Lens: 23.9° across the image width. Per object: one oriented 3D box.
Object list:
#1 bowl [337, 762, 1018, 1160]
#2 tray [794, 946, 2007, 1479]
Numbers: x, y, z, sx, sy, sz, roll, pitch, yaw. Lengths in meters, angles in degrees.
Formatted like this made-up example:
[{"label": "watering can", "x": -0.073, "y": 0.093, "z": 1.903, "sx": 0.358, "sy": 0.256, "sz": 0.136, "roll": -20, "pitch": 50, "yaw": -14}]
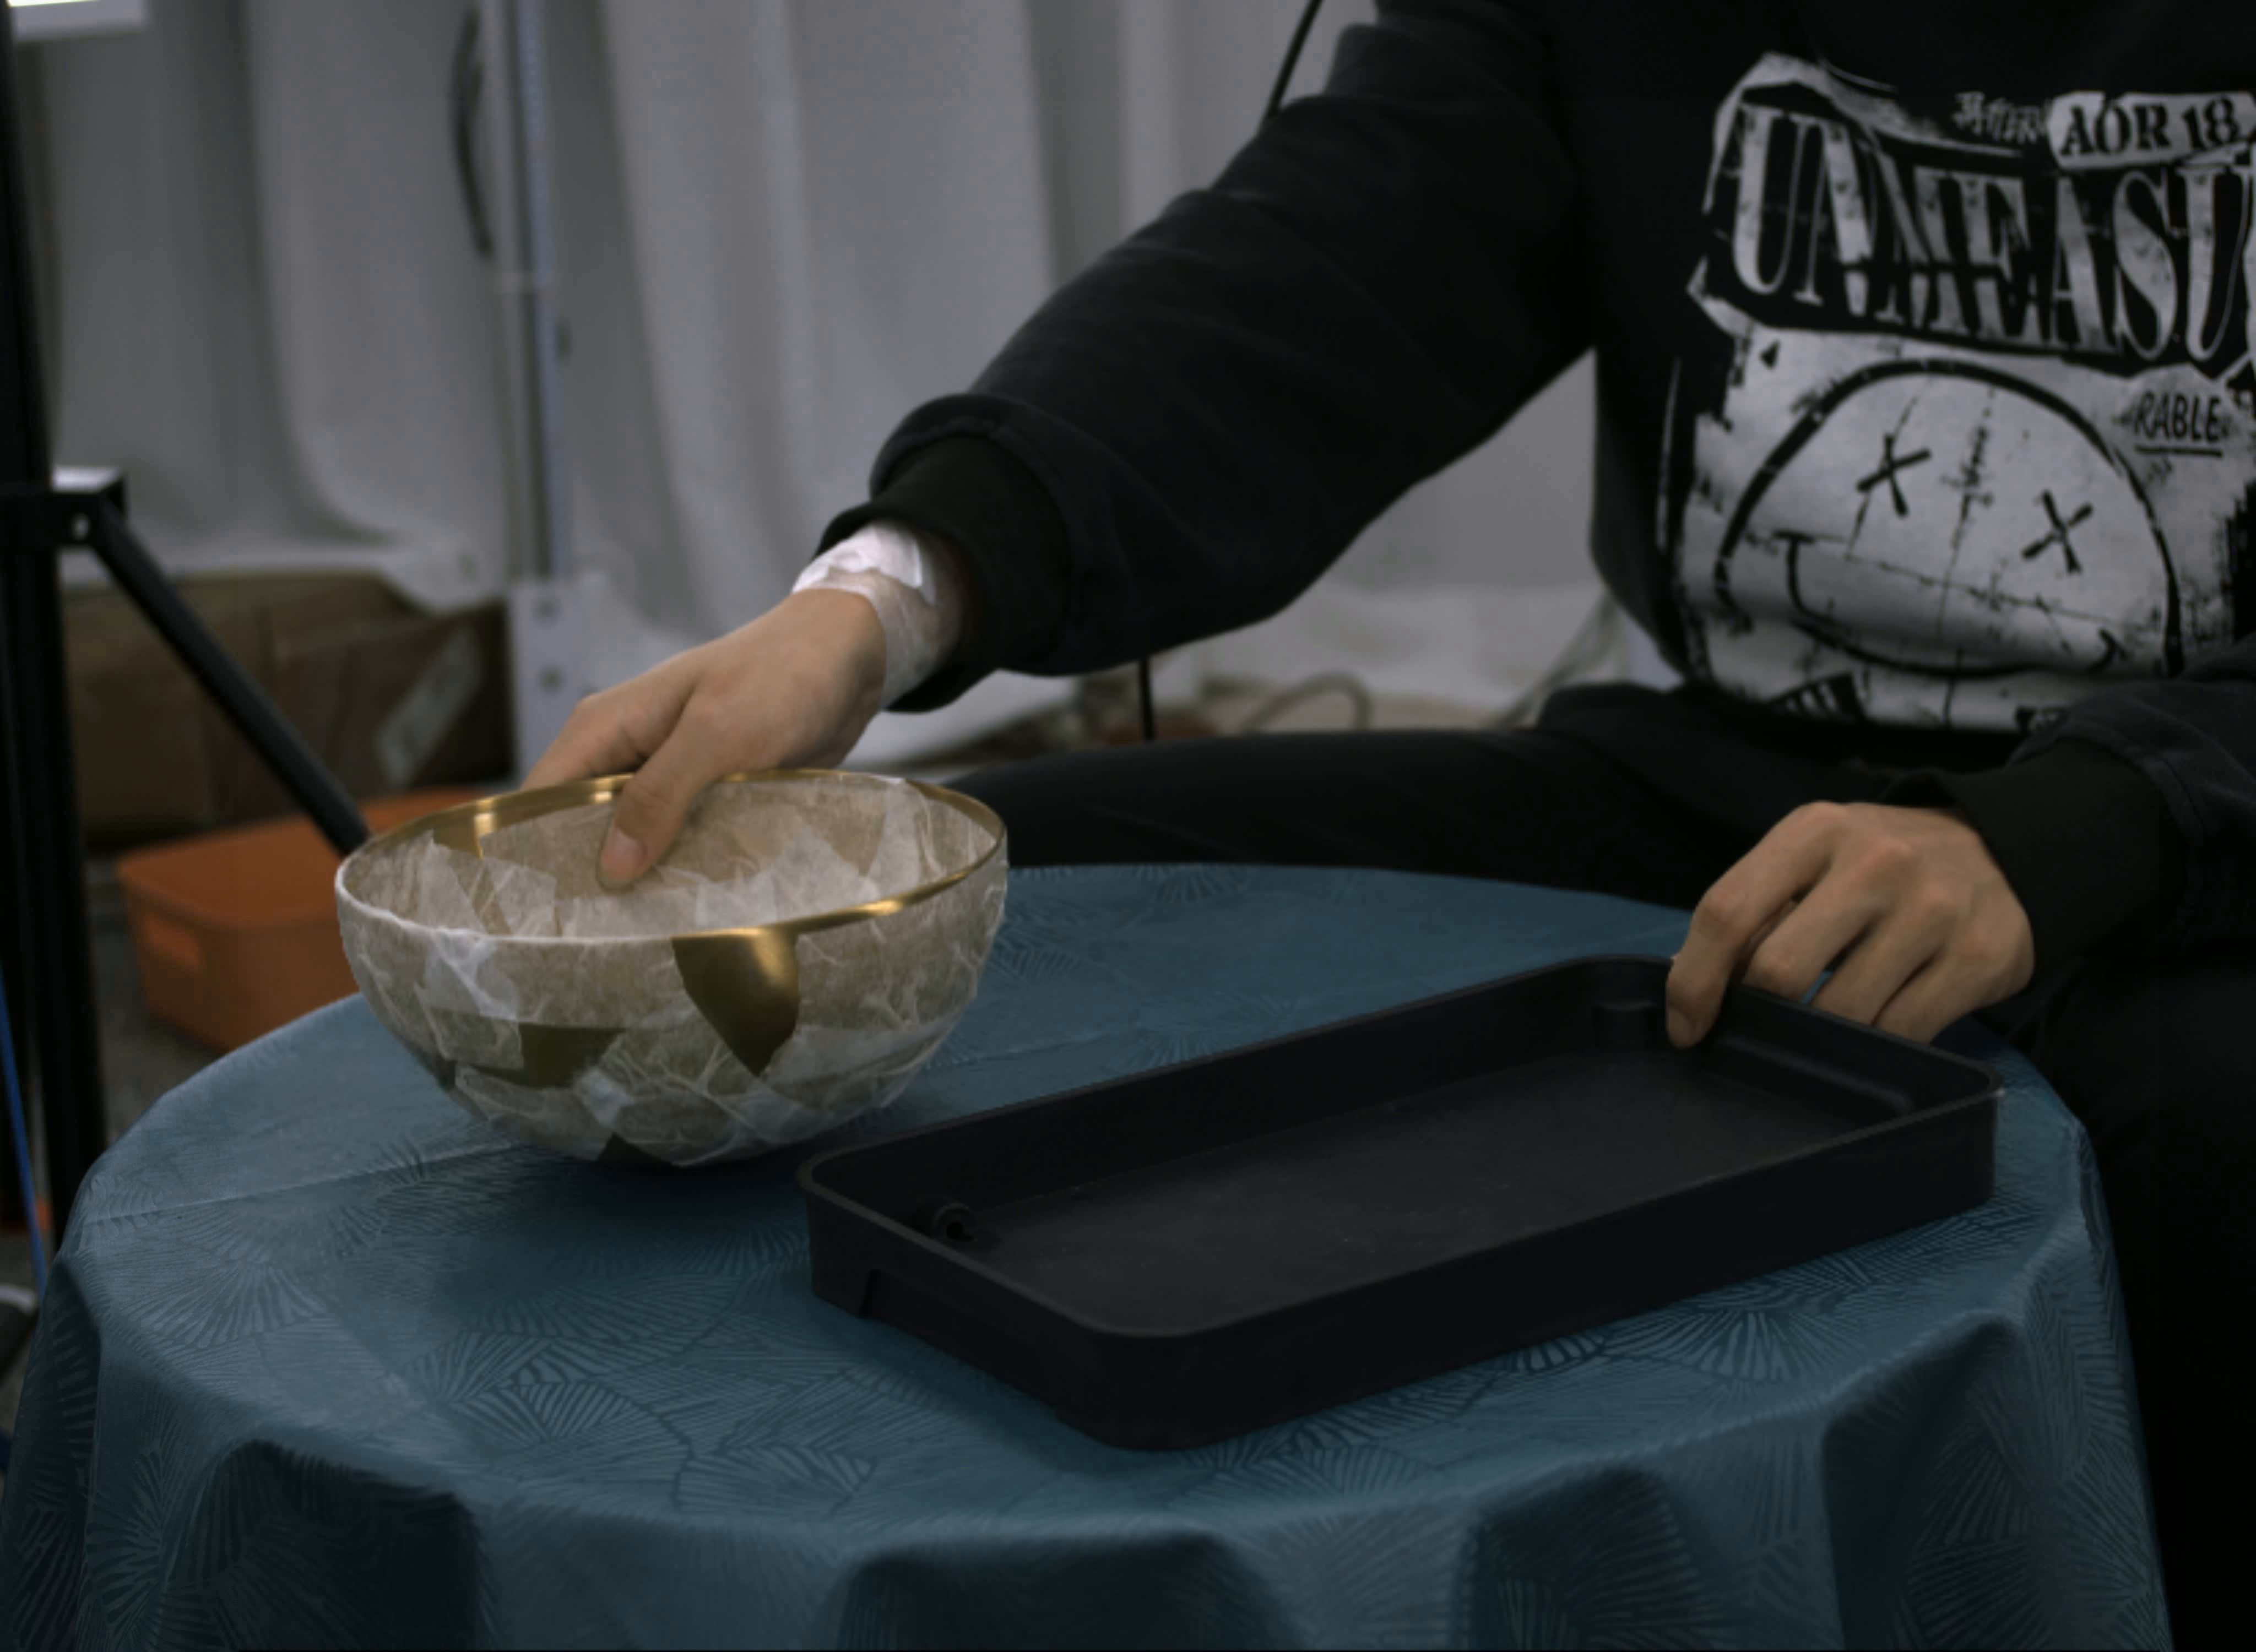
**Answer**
[{"label": "bowl", "x": -0.129, "y": 0.047, "z": 1.608, "sx": 0.213, "sy": 0.094, "sz": 0.215, "roll": -4, "pitch": 13, "yaw": 0}, {"label": "tray", "x": 0.080, "y": 0.103, "z": 1.505, "sx": 0.311, "sy": 0.037, "sz": 0.188, "roll": -14, "pitch": 20, "yaw": -29}]
